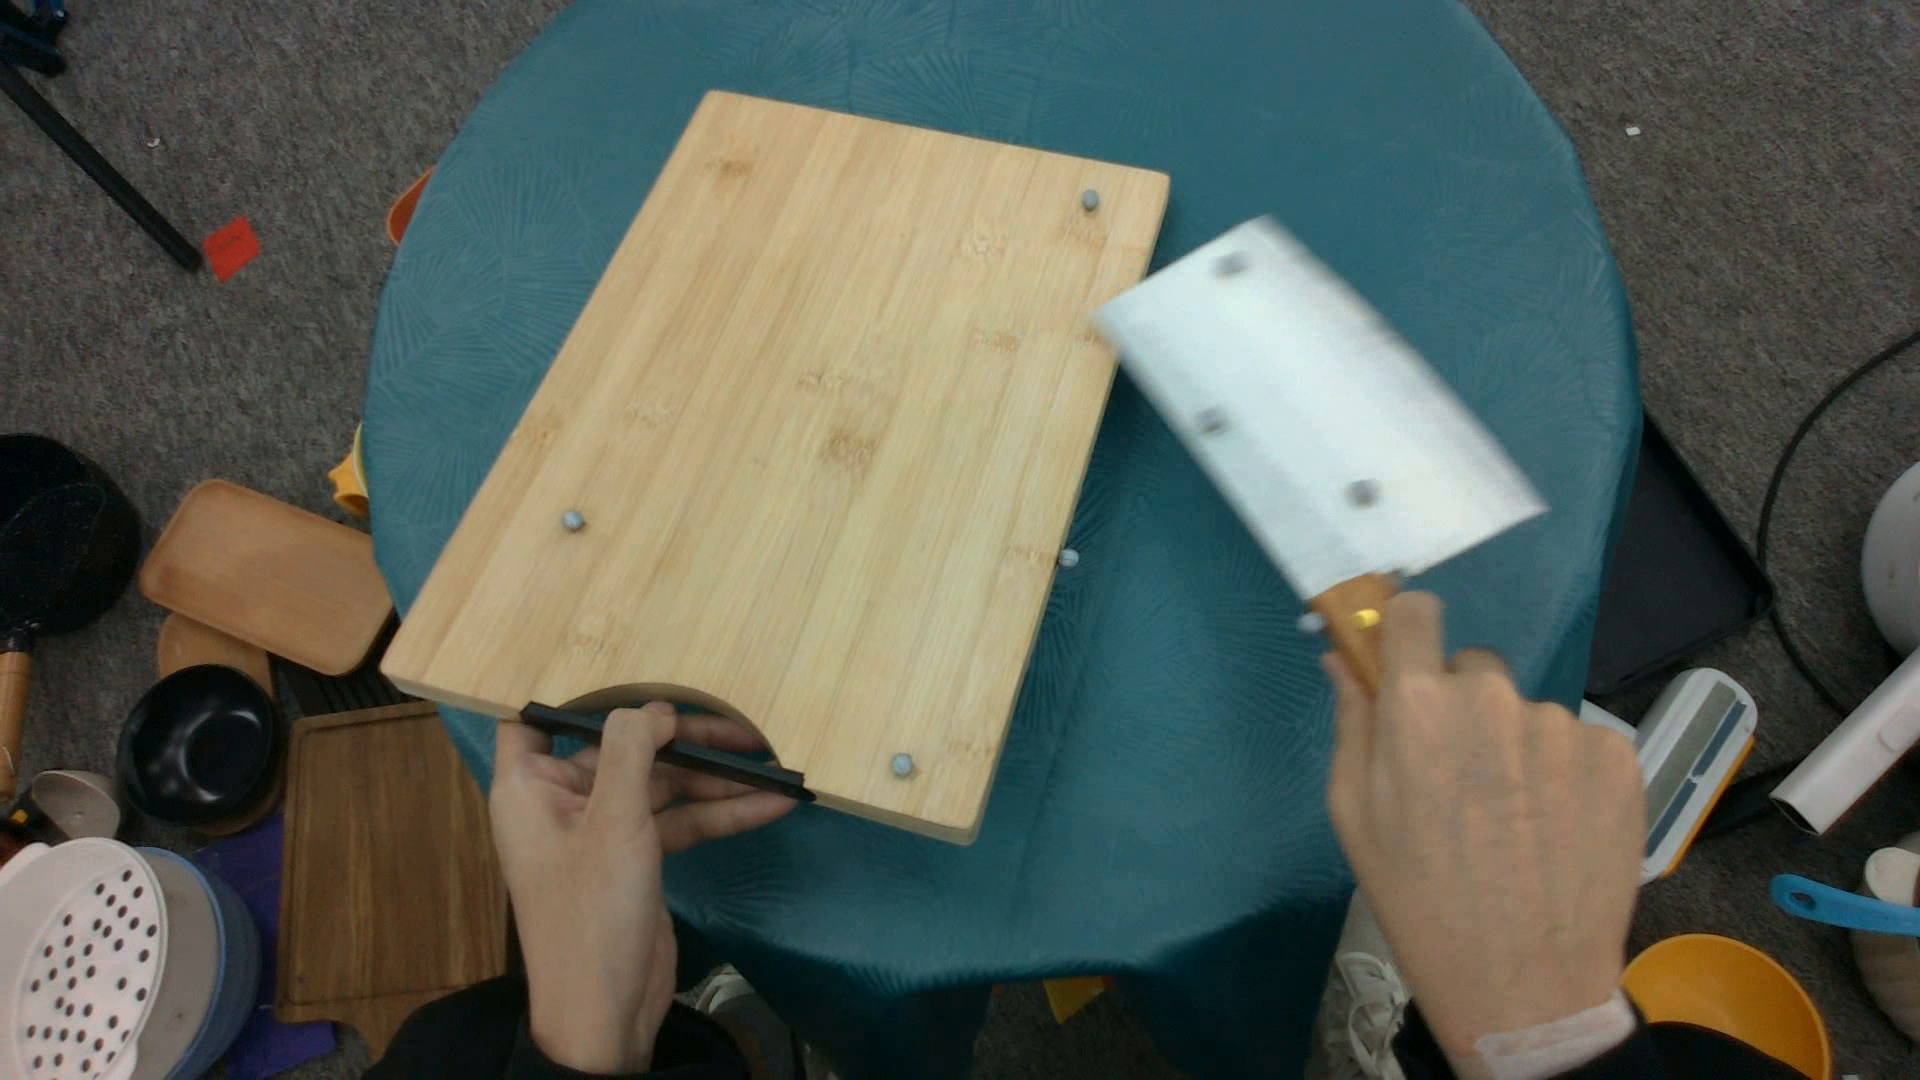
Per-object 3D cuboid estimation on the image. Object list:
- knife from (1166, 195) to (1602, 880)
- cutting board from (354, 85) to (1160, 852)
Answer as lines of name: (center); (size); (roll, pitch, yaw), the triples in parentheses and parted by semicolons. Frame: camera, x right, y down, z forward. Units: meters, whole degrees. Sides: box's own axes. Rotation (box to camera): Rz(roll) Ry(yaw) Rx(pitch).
knife: (0.169, -0.026, 0.515); (0.093, 0.021, 0.307); (-23, 53, 6)
cutting board: (-0.068, -0.058, 0.600); (0.250, 0.023, 0.350); (12, 60, 10)
